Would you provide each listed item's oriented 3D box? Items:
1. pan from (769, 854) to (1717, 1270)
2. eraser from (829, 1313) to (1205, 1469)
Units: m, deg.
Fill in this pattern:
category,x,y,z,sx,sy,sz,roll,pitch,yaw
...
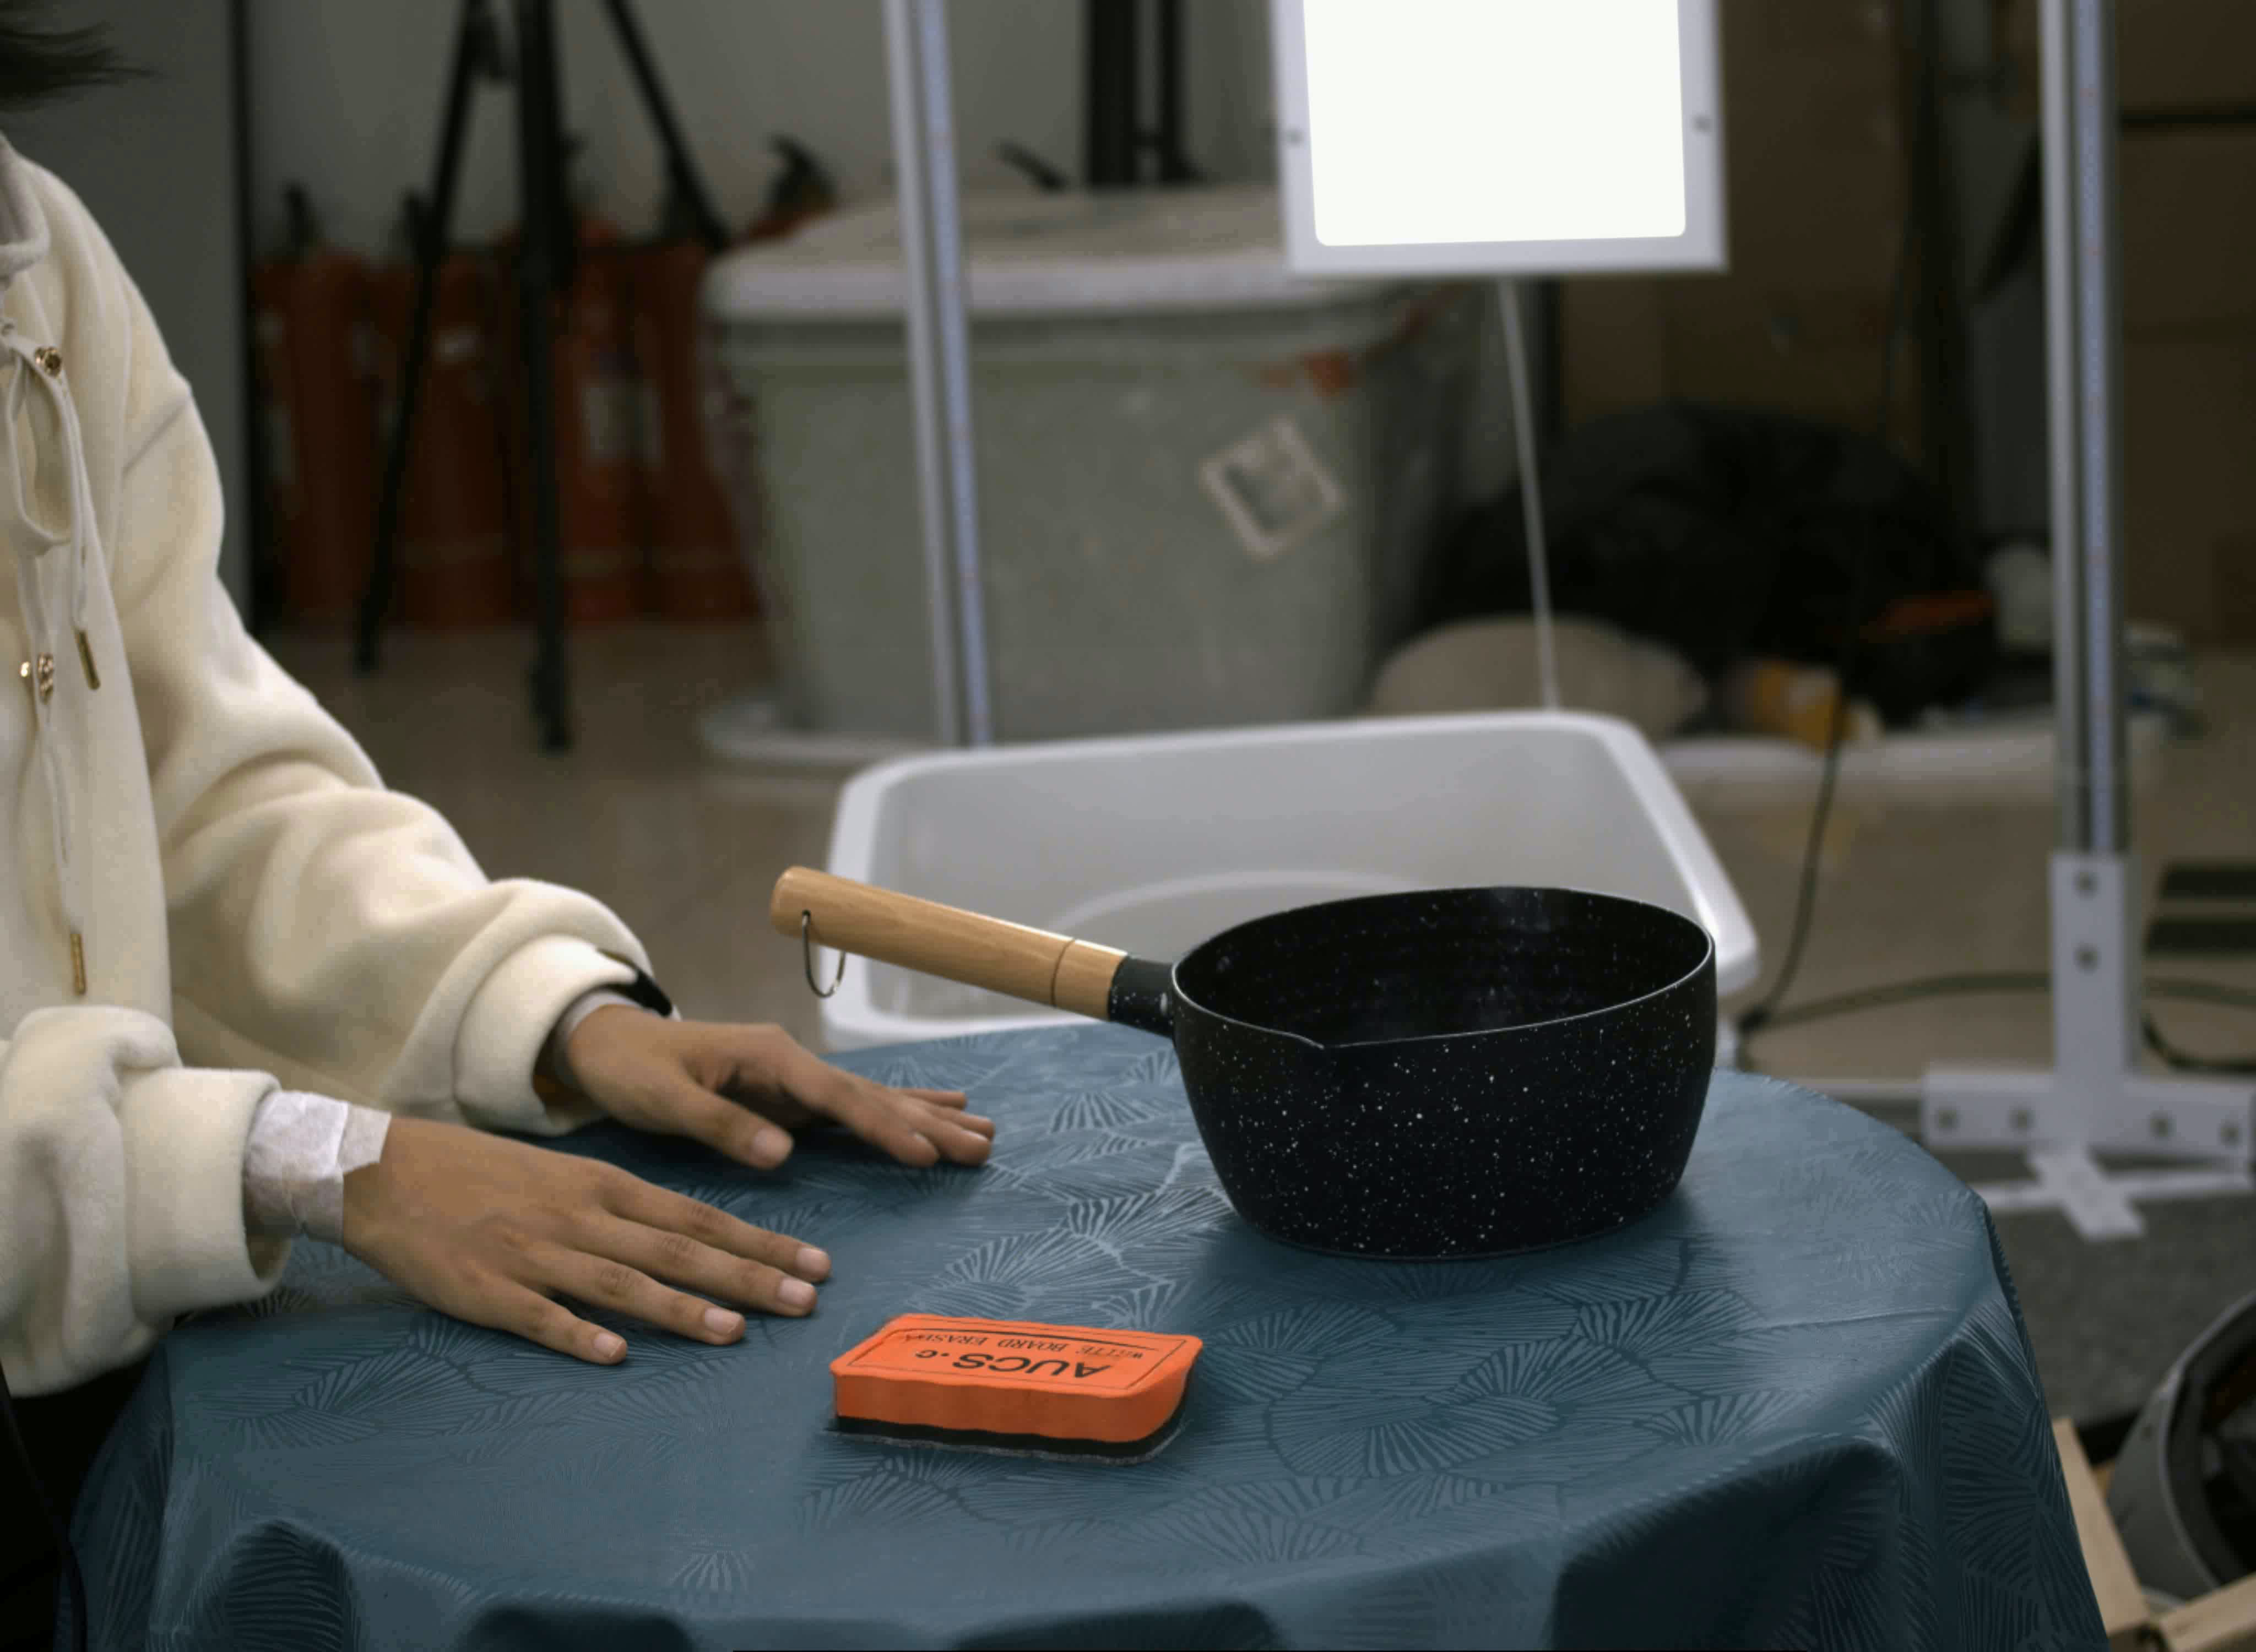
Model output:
category,x,y,z,sx,sy,sz,roll,pitch,yaw
pan,0.034,0.071,1.884,0.348,0.108,0.203,3,17,23
eraser,-0.033,0.171,1.679,0.110,0.023,0.058,2,17,28
